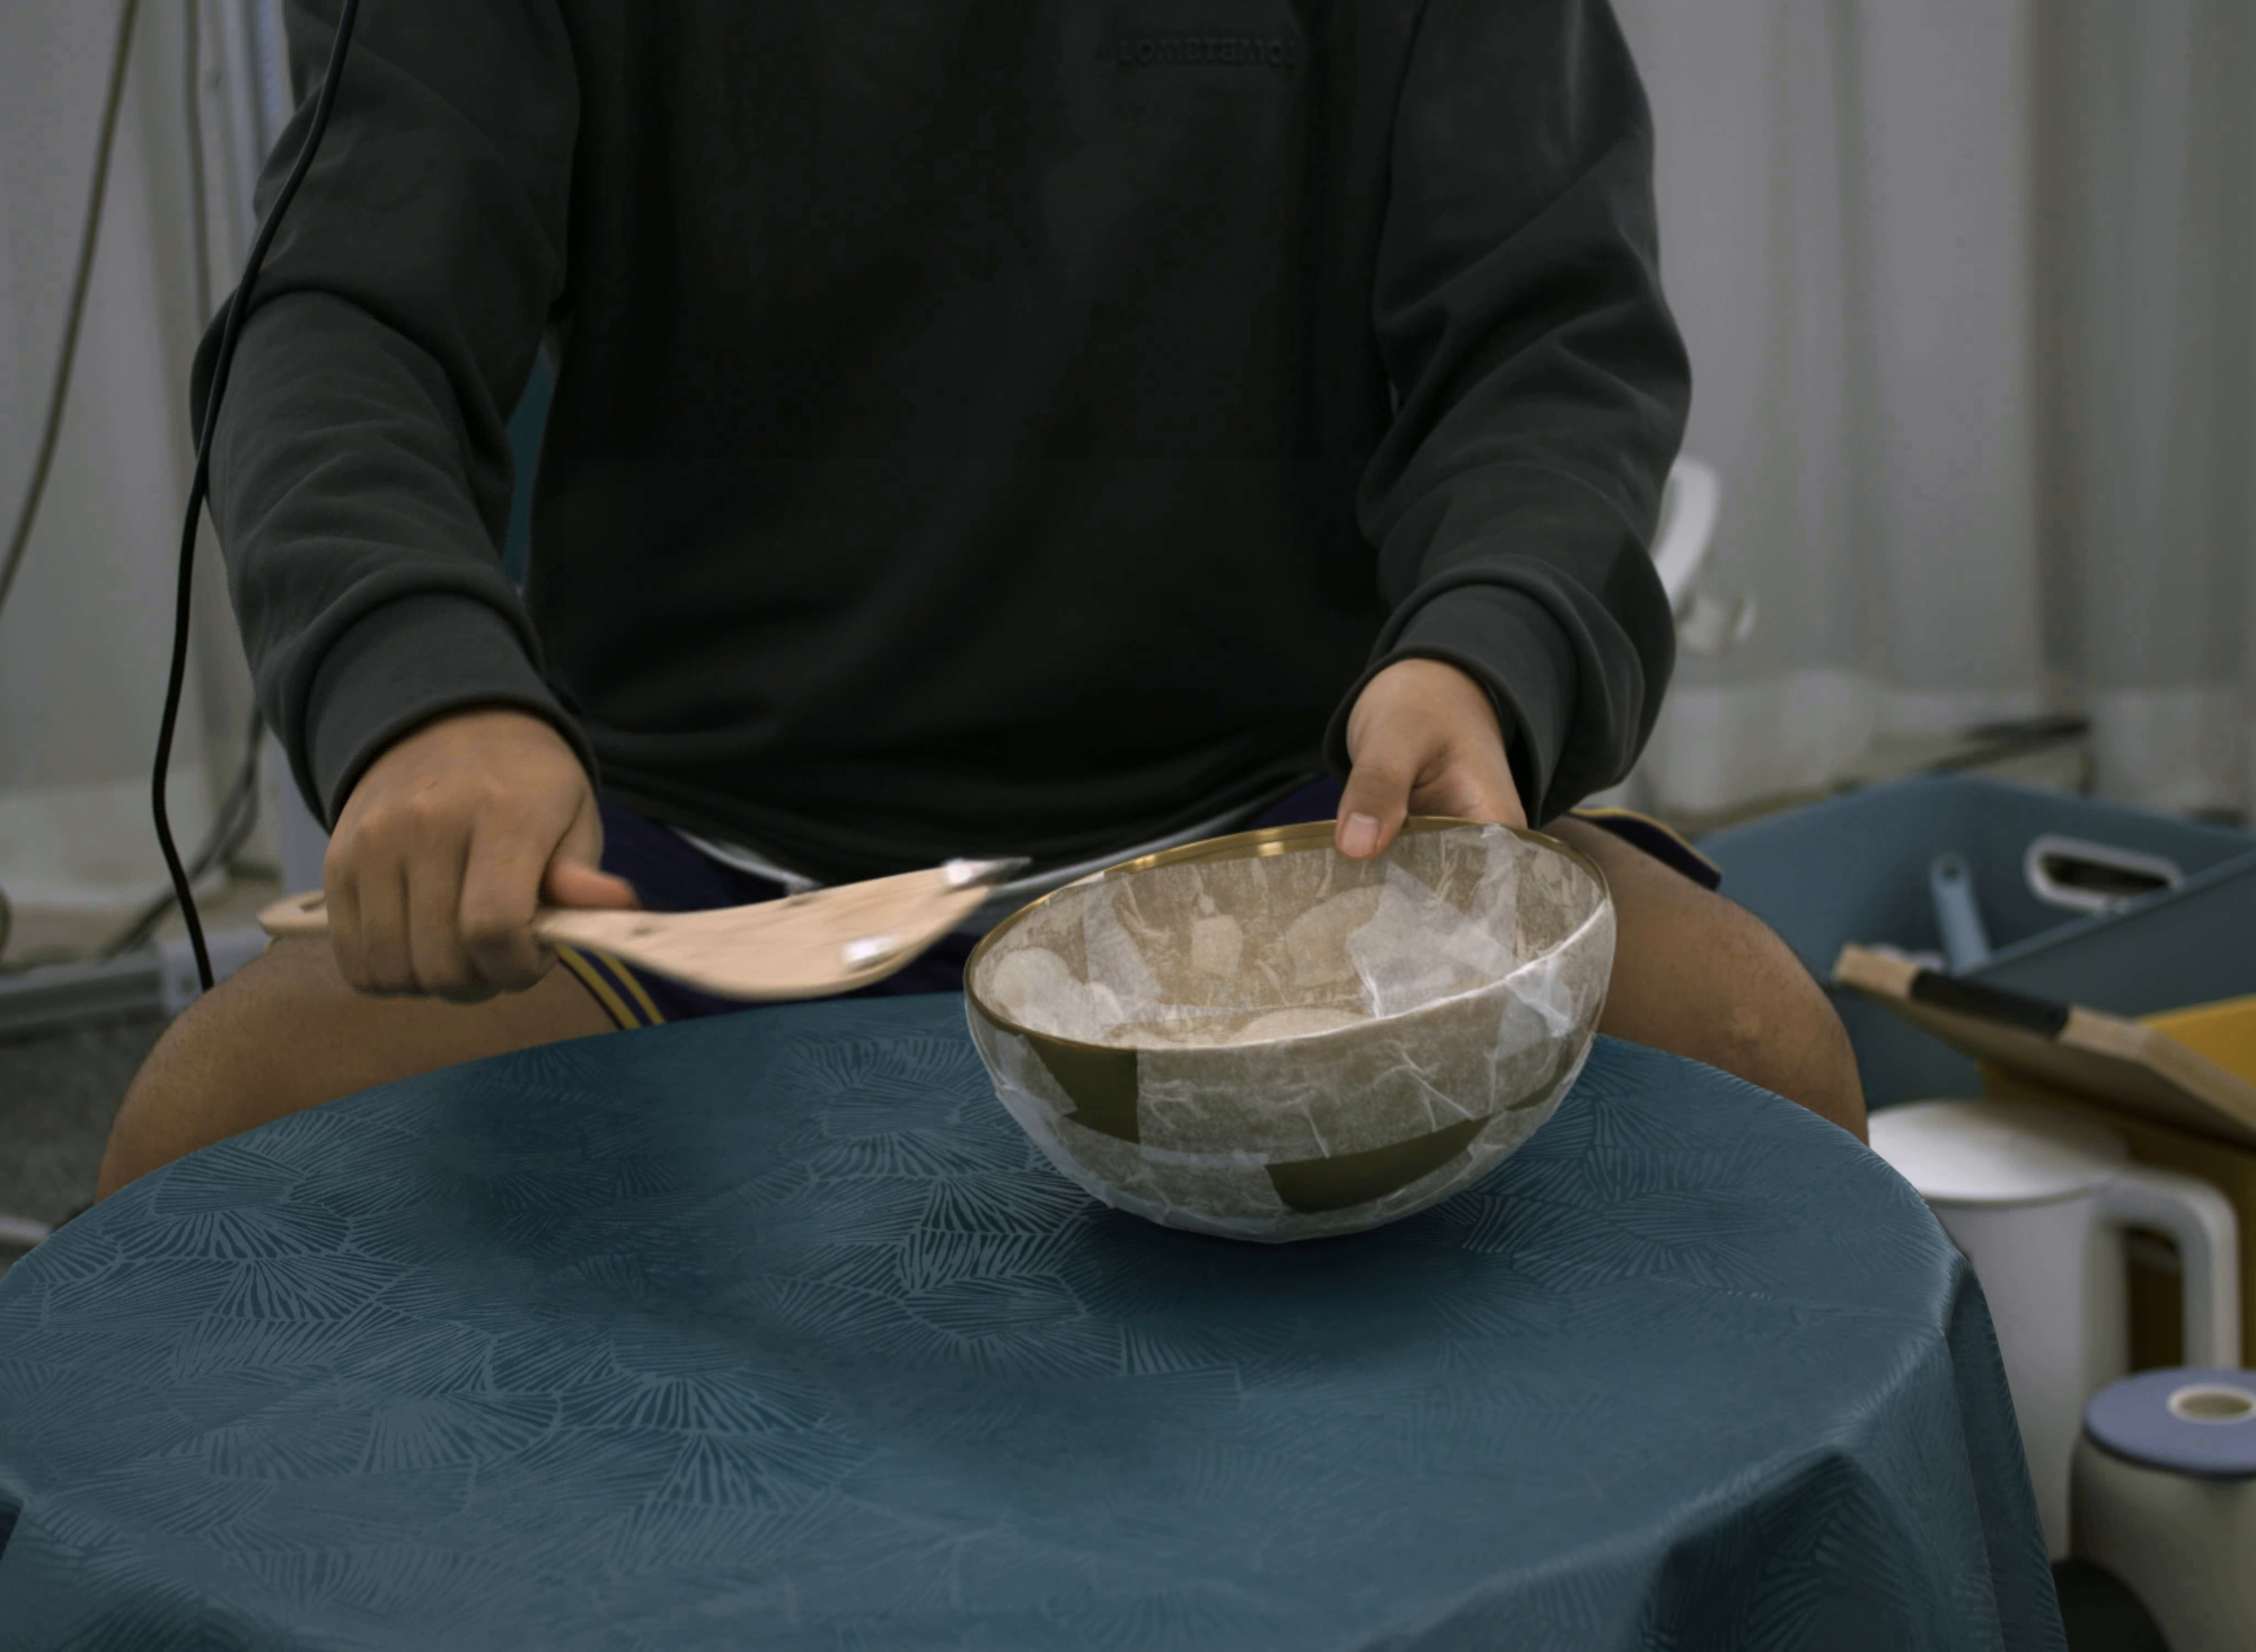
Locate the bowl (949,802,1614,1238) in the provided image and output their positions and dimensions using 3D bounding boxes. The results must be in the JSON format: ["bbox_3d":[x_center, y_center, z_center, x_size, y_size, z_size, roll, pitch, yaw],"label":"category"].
[{"bbox_3d":[0.054,0.068,1.682,0.214,0.094,0.216,-9,18,3],"label":"bowl"}]

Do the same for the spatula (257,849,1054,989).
[{"bbox_3d":[-0.153,0.025,1.651,0.328,0.016,0.080,1,27,42],"label":"spatula"}]
